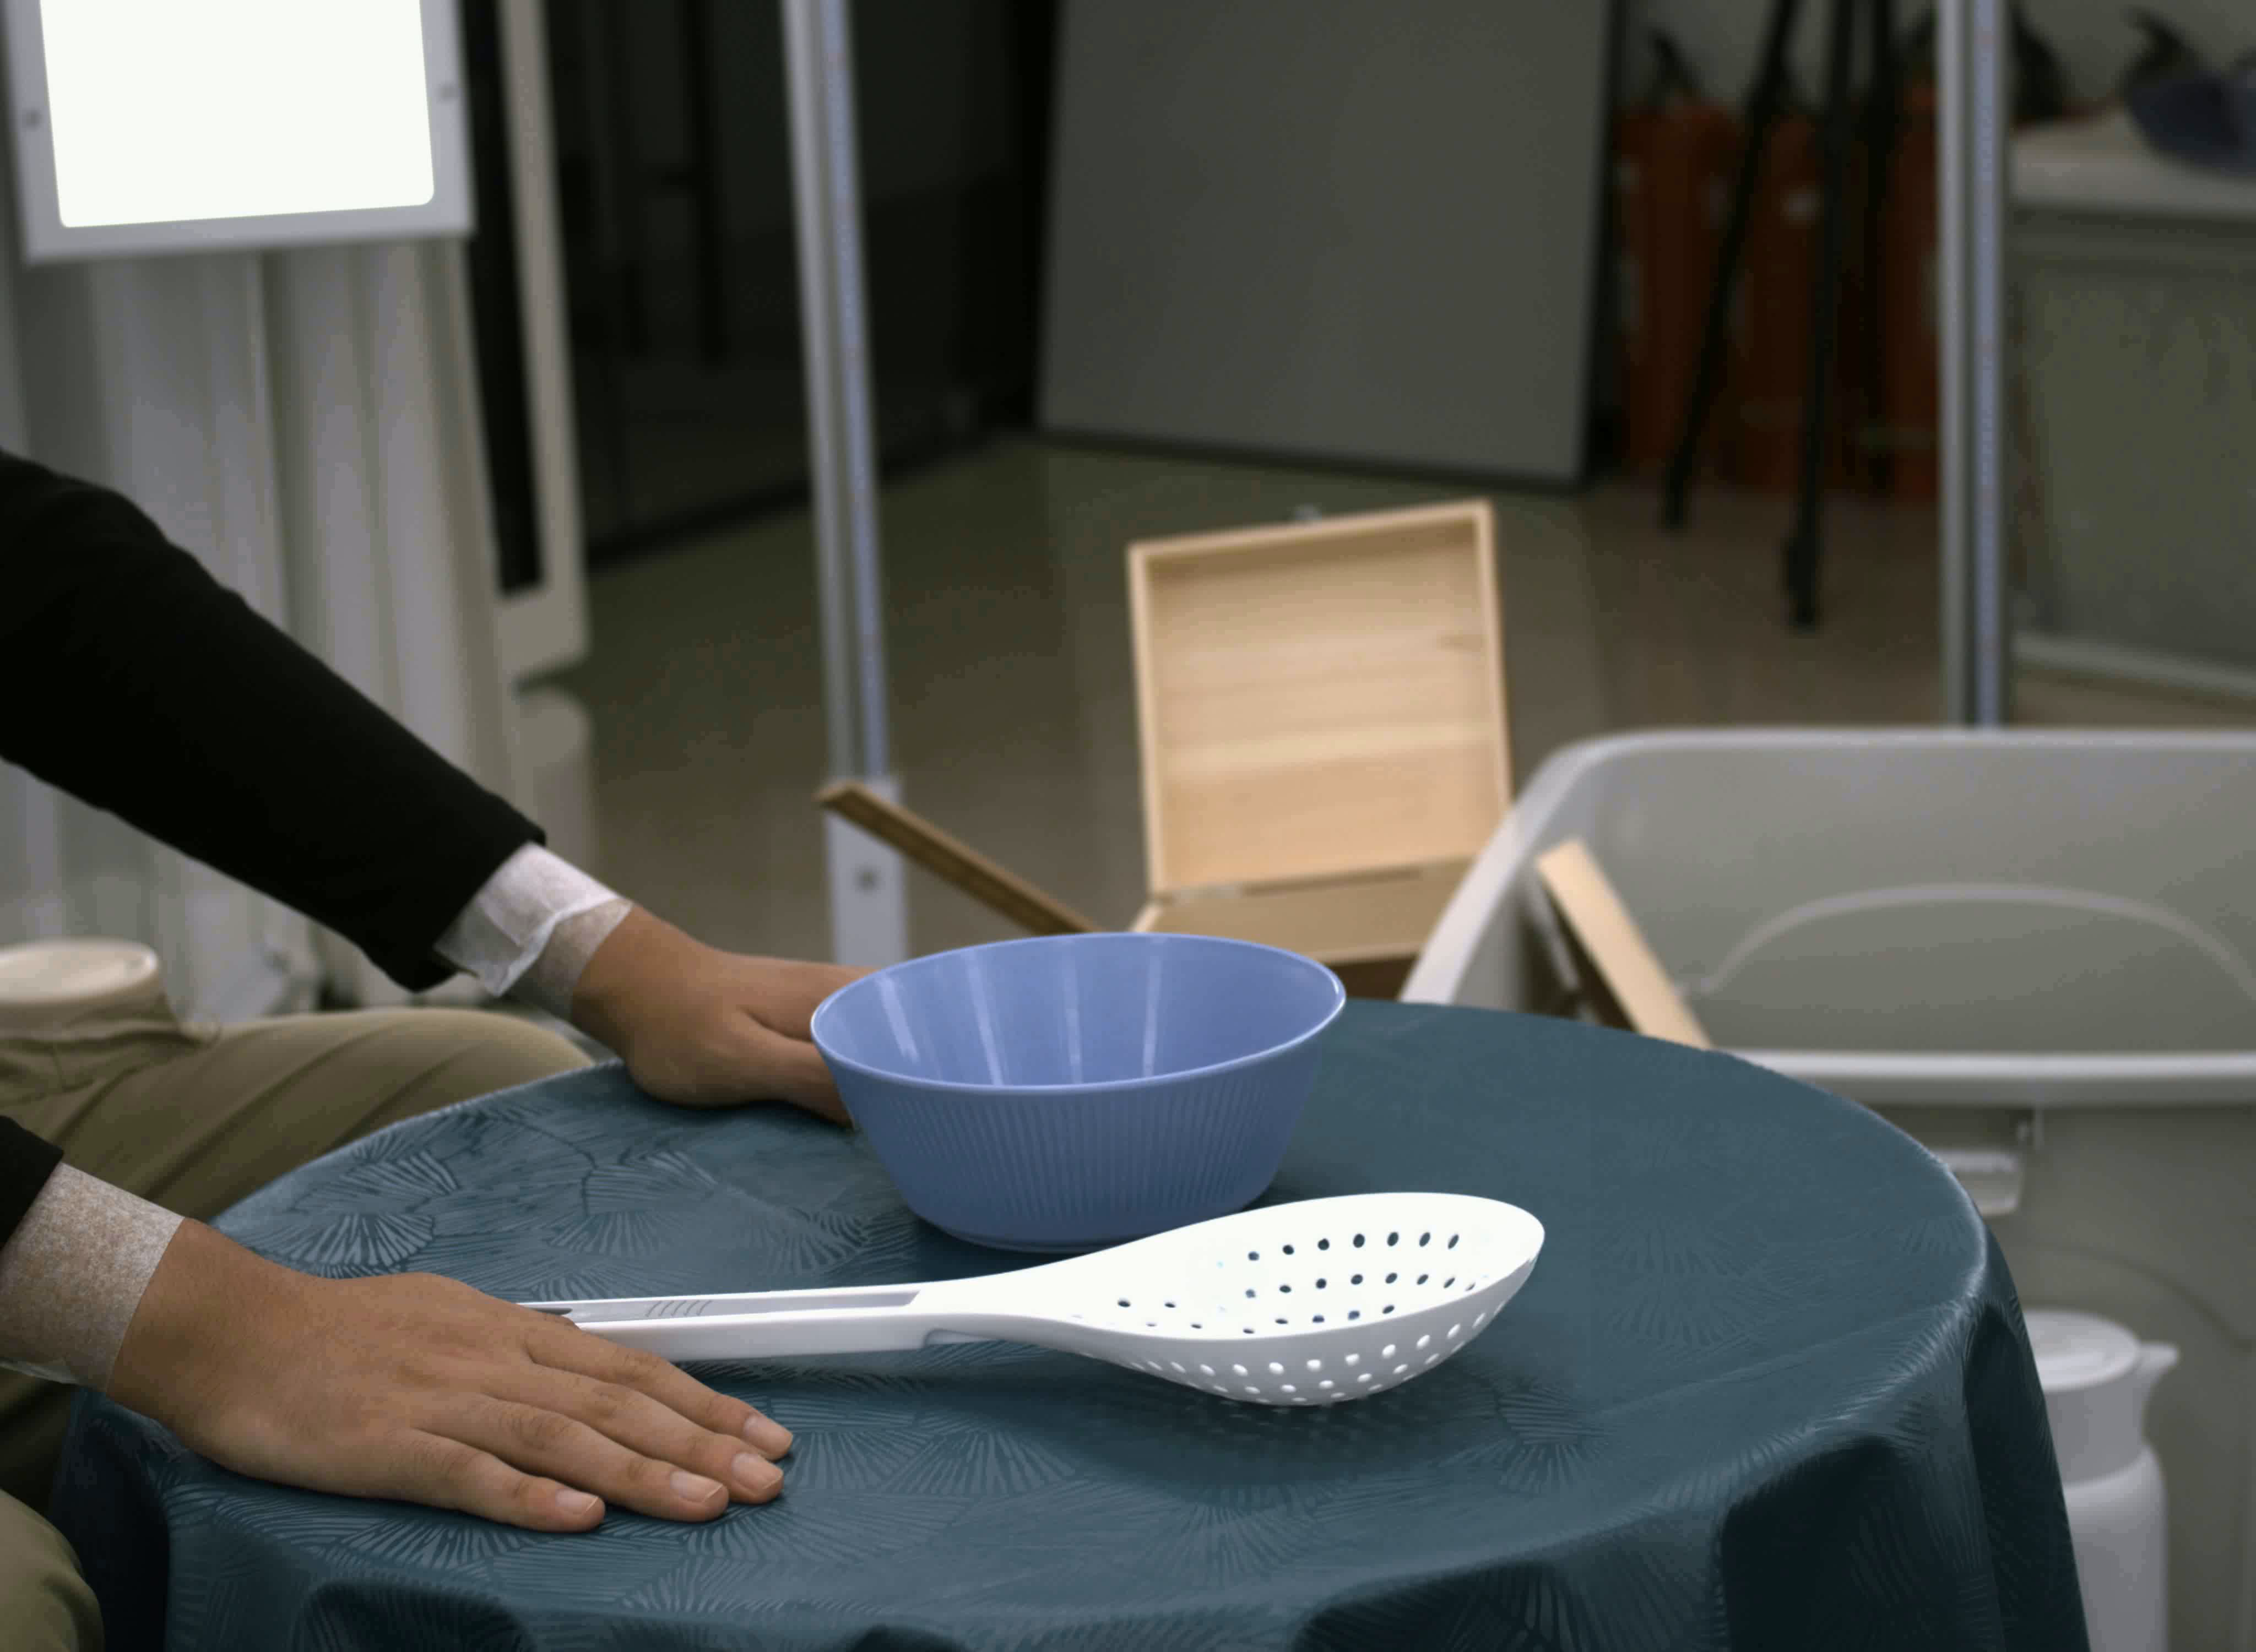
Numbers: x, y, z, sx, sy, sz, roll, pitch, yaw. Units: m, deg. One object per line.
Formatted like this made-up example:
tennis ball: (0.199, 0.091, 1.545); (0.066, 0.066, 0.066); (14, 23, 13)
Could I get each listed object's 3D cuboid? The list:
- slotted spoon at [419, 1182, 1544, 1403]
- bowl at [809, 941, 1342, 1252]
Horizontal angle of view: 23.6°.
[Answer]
slotted spoon: (-0.047, 0.144, 1.597); (0.348, 0.046, 0.135); (-2, 13, 16)
bowl: (-0.015, 0.090, 1.755); (0.174, 0.071, 0.176); (-5, 13, 0)
